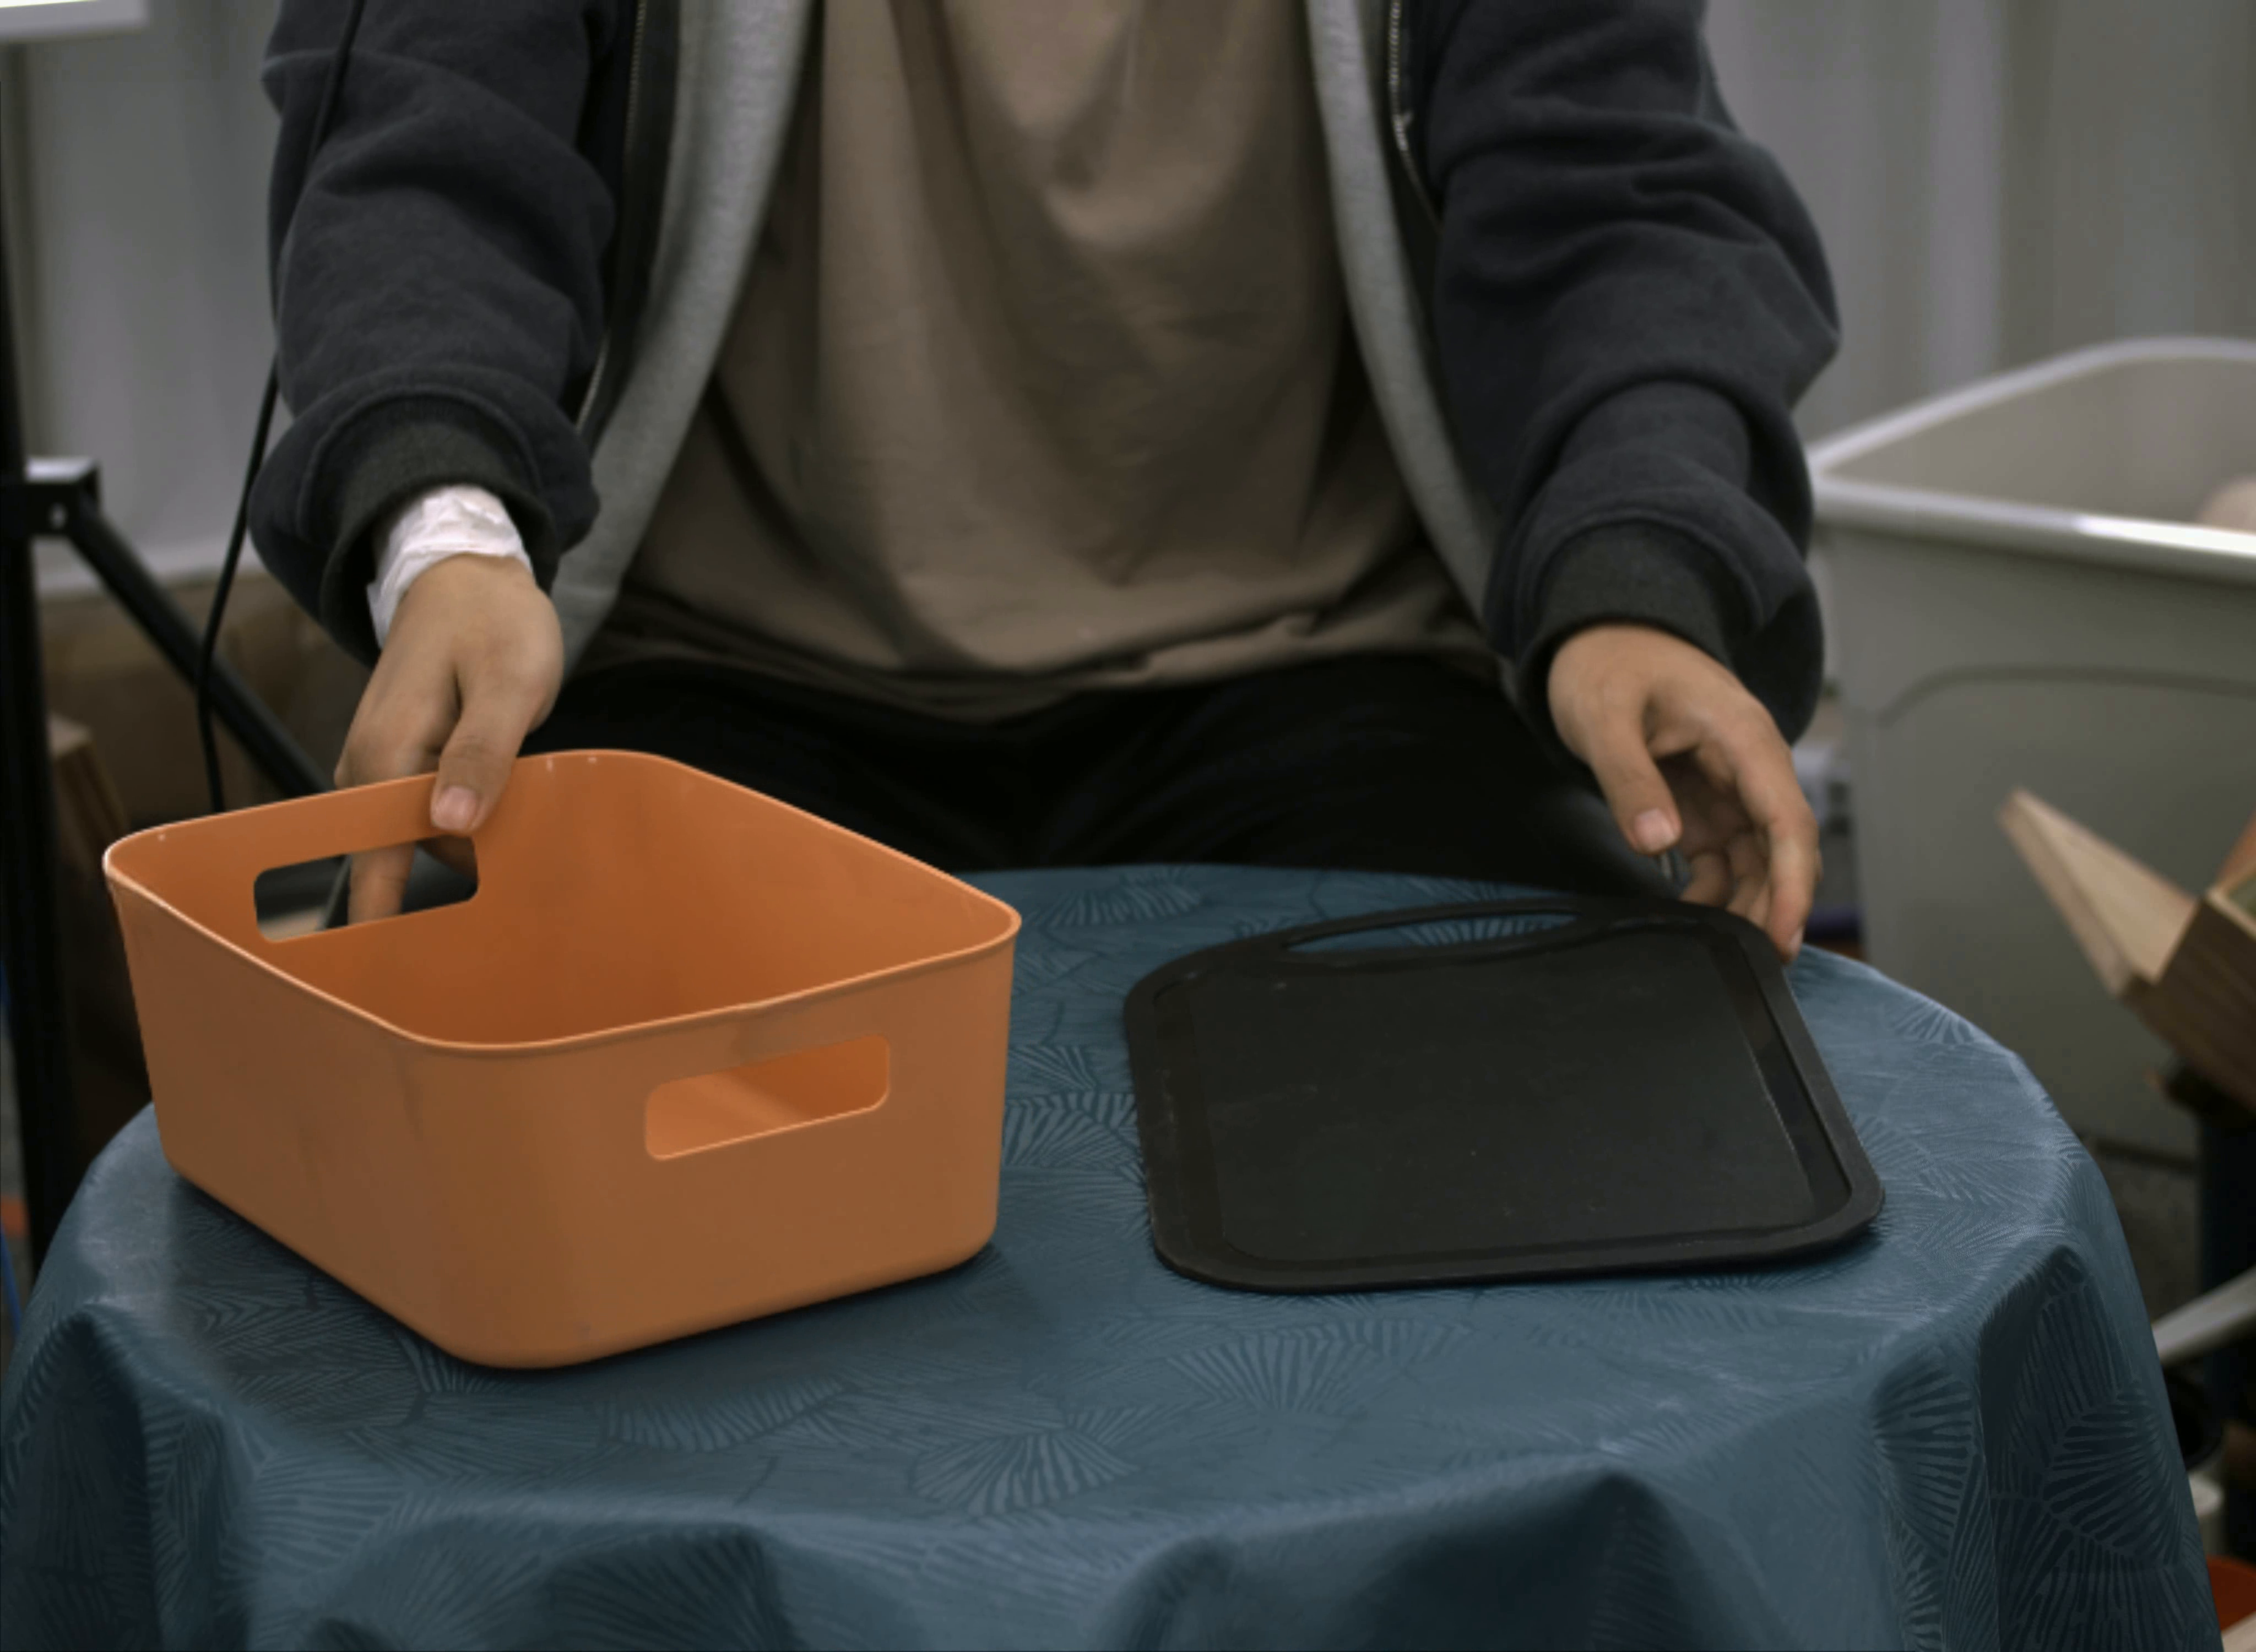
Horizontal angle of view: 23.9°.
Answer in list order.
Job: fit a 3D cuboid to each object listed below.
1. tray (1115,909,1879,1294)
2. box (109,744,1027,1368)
[{"bbox_3d":[0.104,0.077,1.621,0.210,0.010,0.327,-5,17,-1],"label":"tray"},{"bbox_3d":[-0.163,0.063,1.556,0.195,0.102,0.279,-12,19,-30],"label":"box"}]
